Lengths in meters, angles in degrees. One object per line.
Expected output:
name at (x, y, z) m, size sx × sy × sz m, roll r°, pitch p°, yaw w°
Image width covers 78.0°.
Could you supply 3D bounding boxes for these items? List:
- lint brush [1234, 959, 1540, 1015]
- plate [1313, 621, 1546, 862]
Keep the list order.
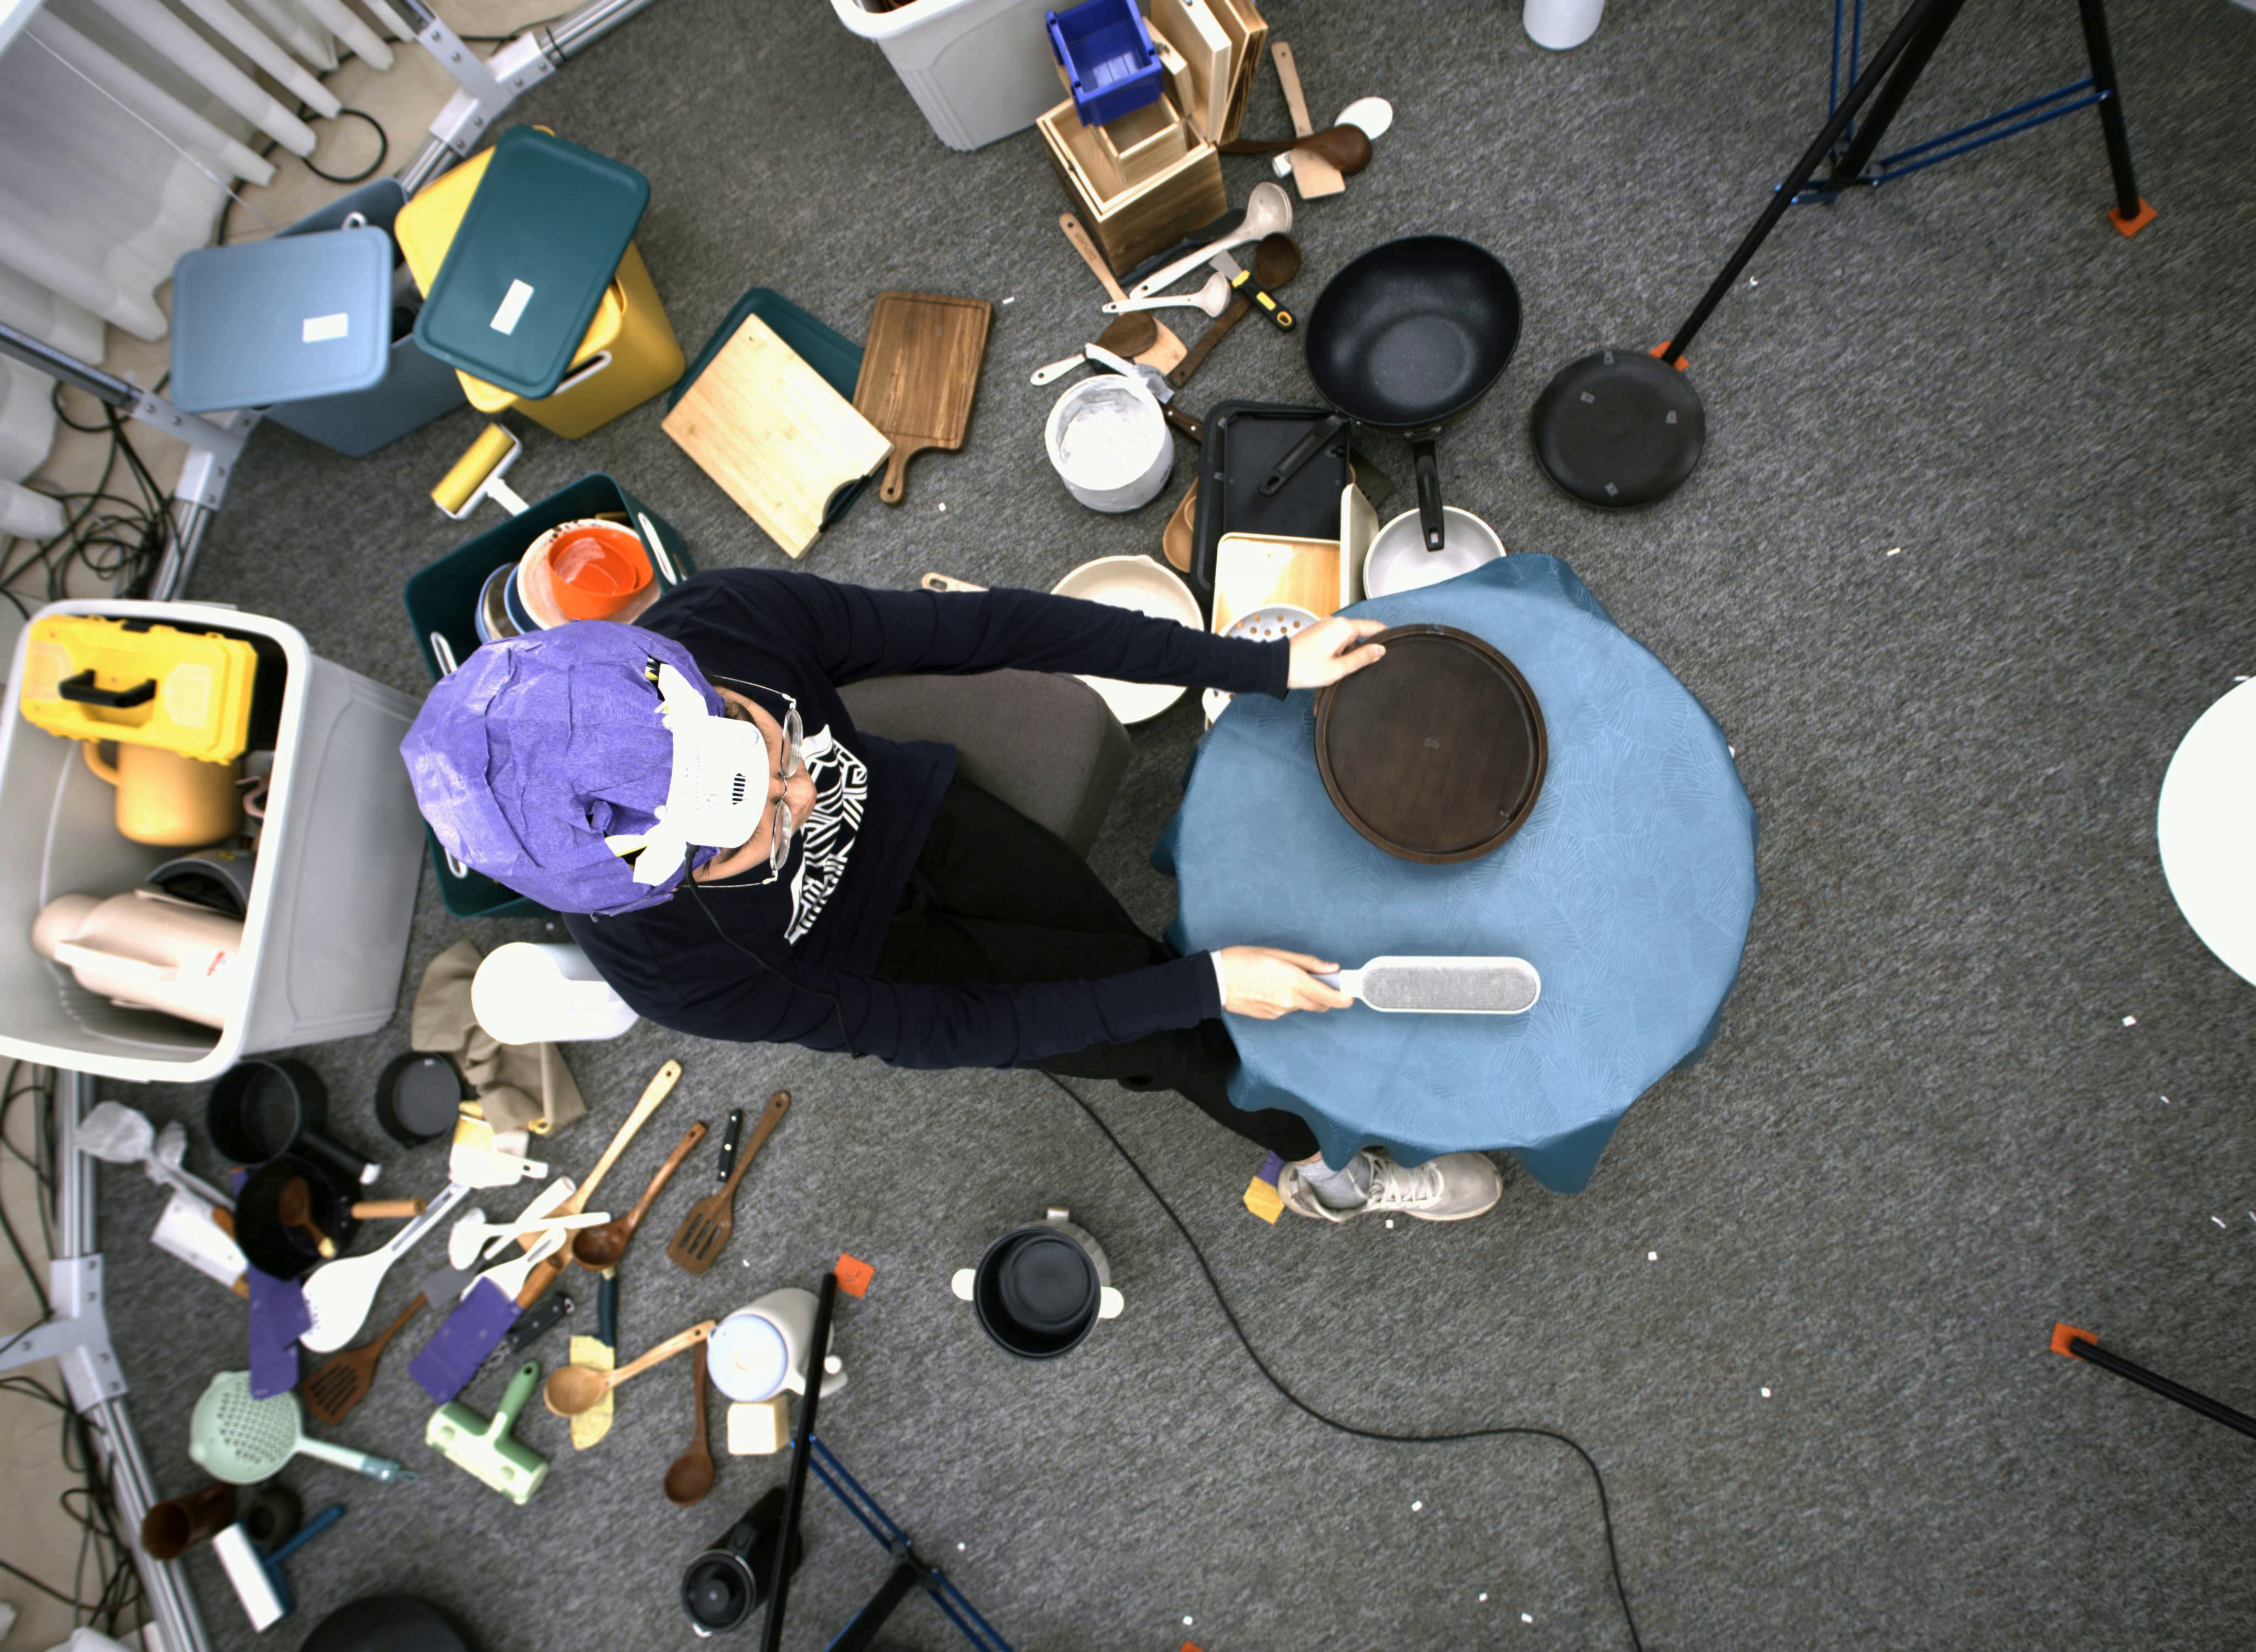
lint brush at (0.260, 0.160, 1.405) m, size 0.310 × 0.020 × 0.061 m, roll -1°, pitch 111°, yaw 16°
plate at (0.310, -0.088, 1.410) m, size 0.254 × 0.029 × 0.252 m, roll 2°, pitch 82°, yaw -10°
